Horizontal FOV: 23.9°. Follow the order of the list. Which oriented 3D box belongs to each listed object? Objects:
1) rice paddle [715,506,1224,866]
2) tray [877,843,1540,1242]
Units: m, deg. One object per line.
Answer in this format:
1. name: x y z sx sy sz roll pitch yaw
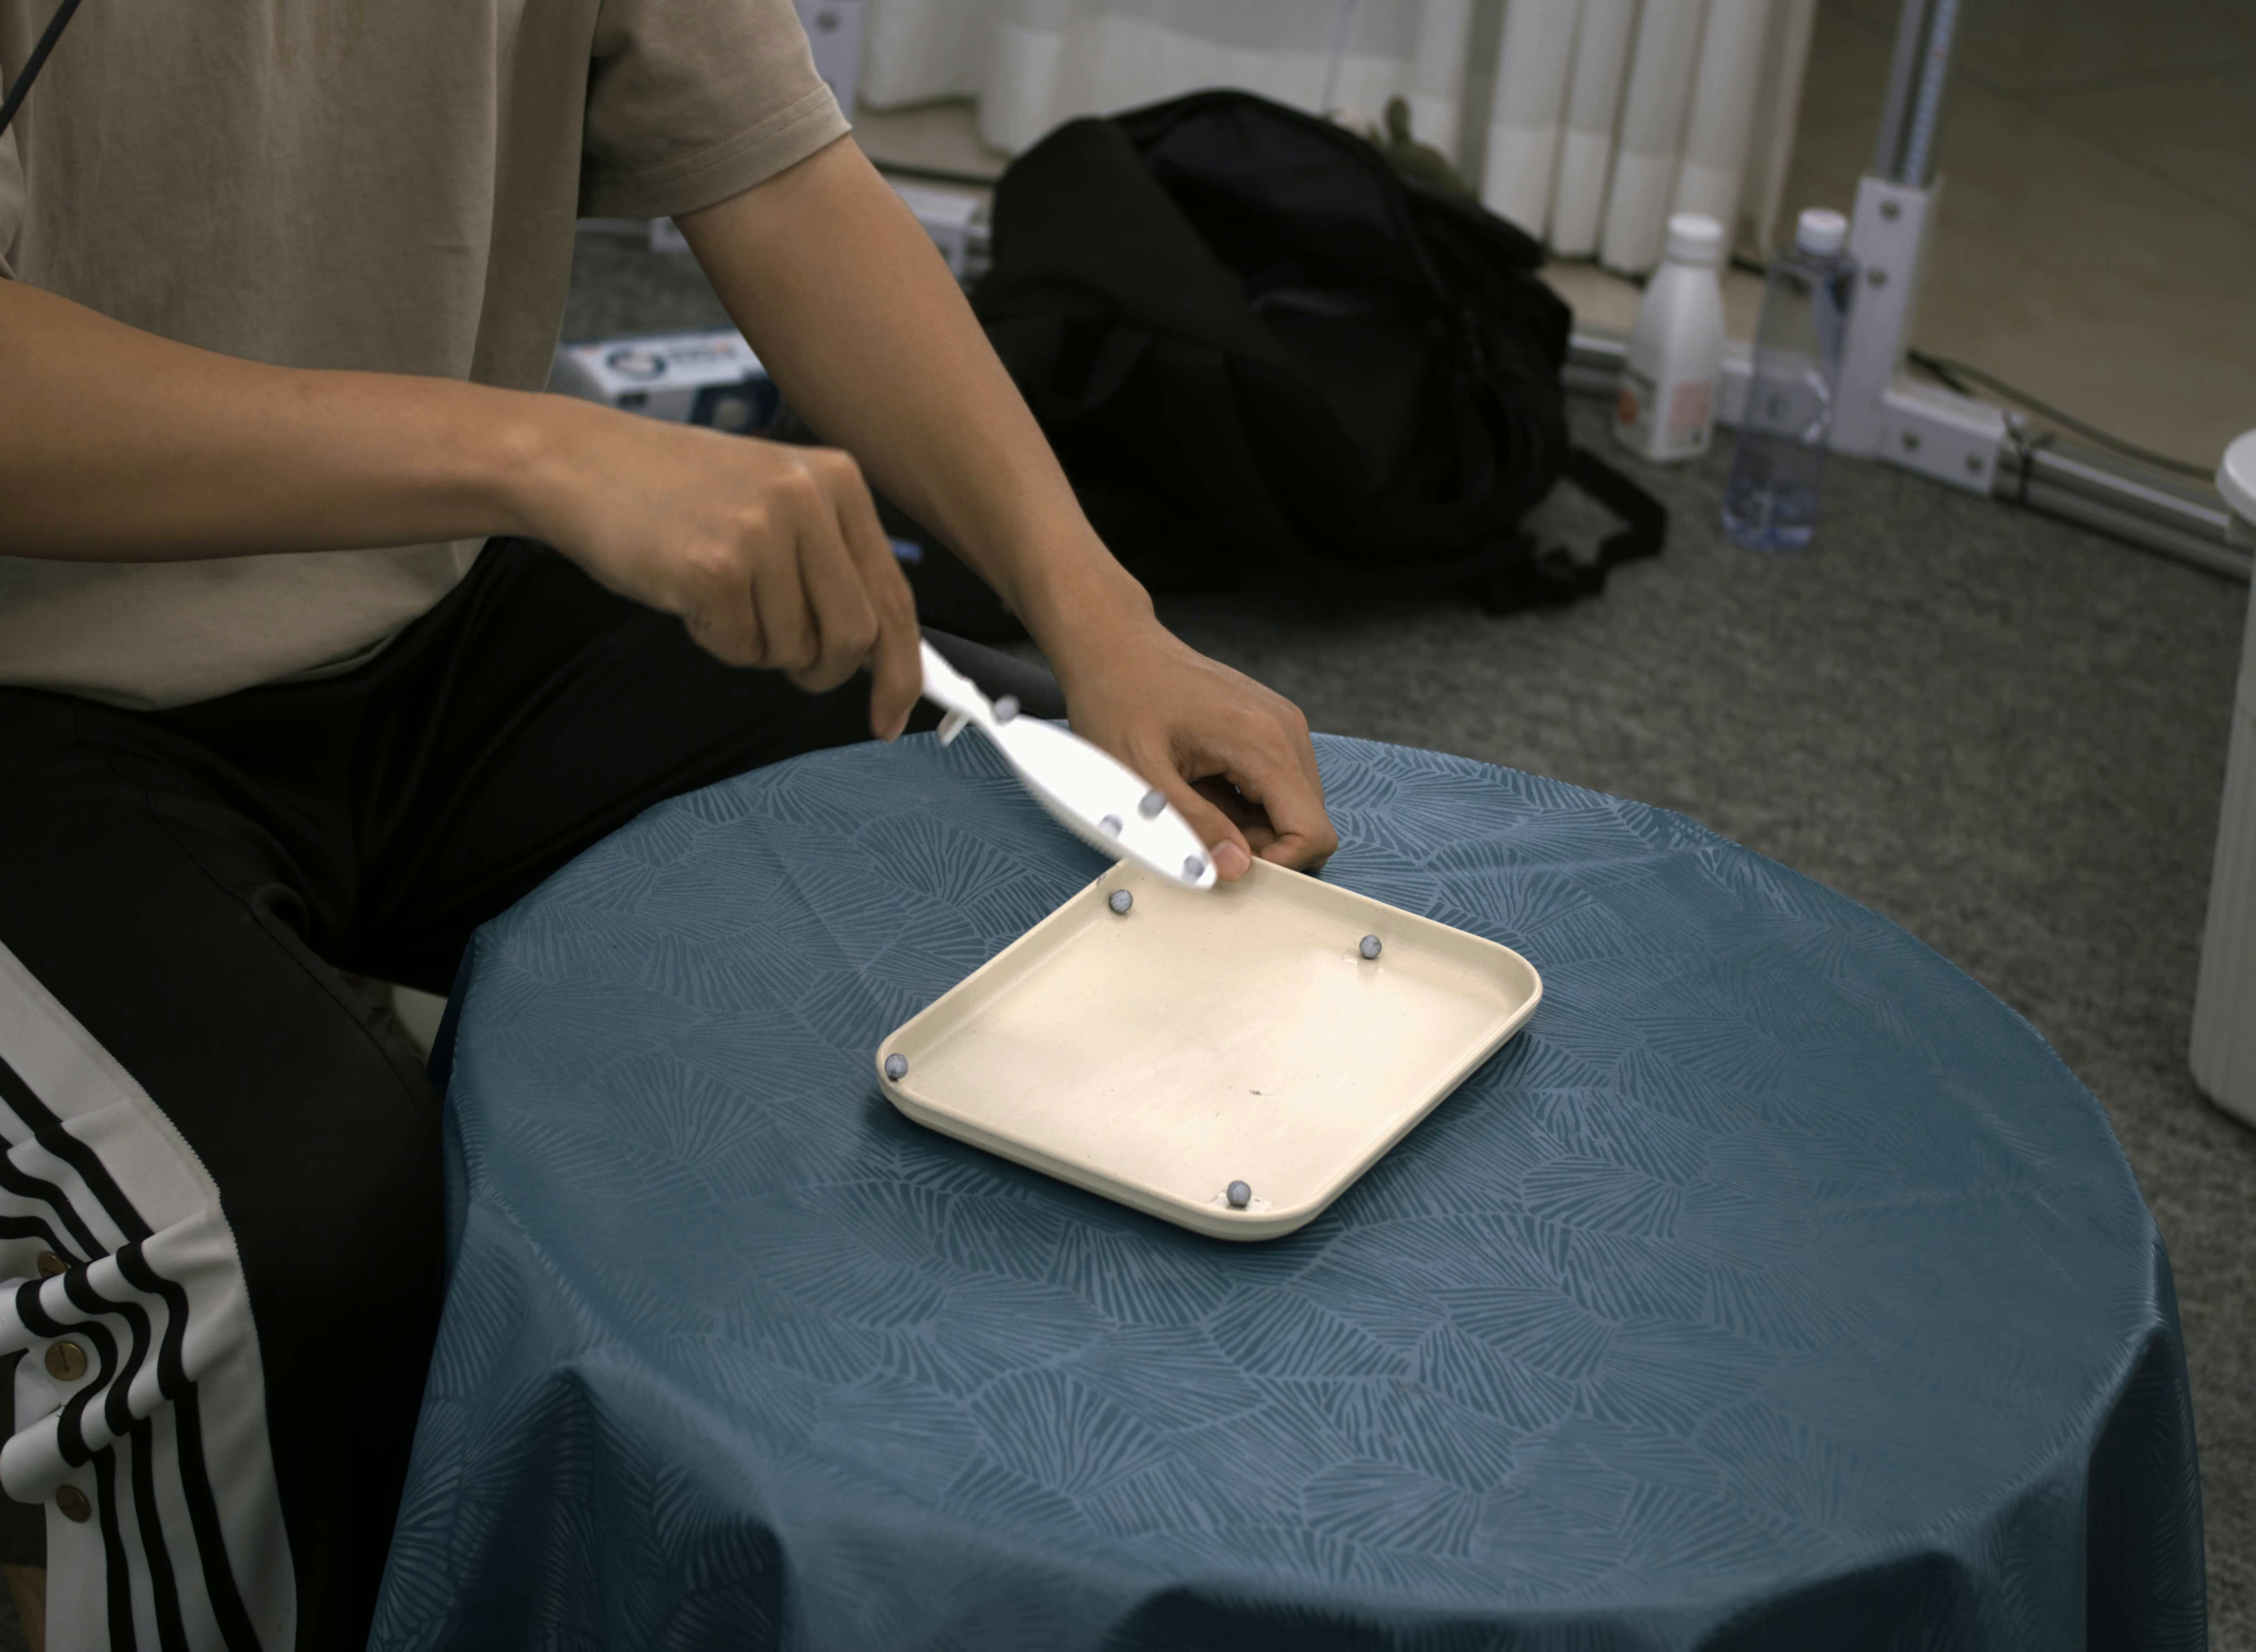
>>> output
1. rice paddle: -0.047 -0.043 1.779 0.204 0.029 0.069 32 19 -21
2. tray: 0.031 0.075 1.887 0.172 0.017 0.239 20 29 22
